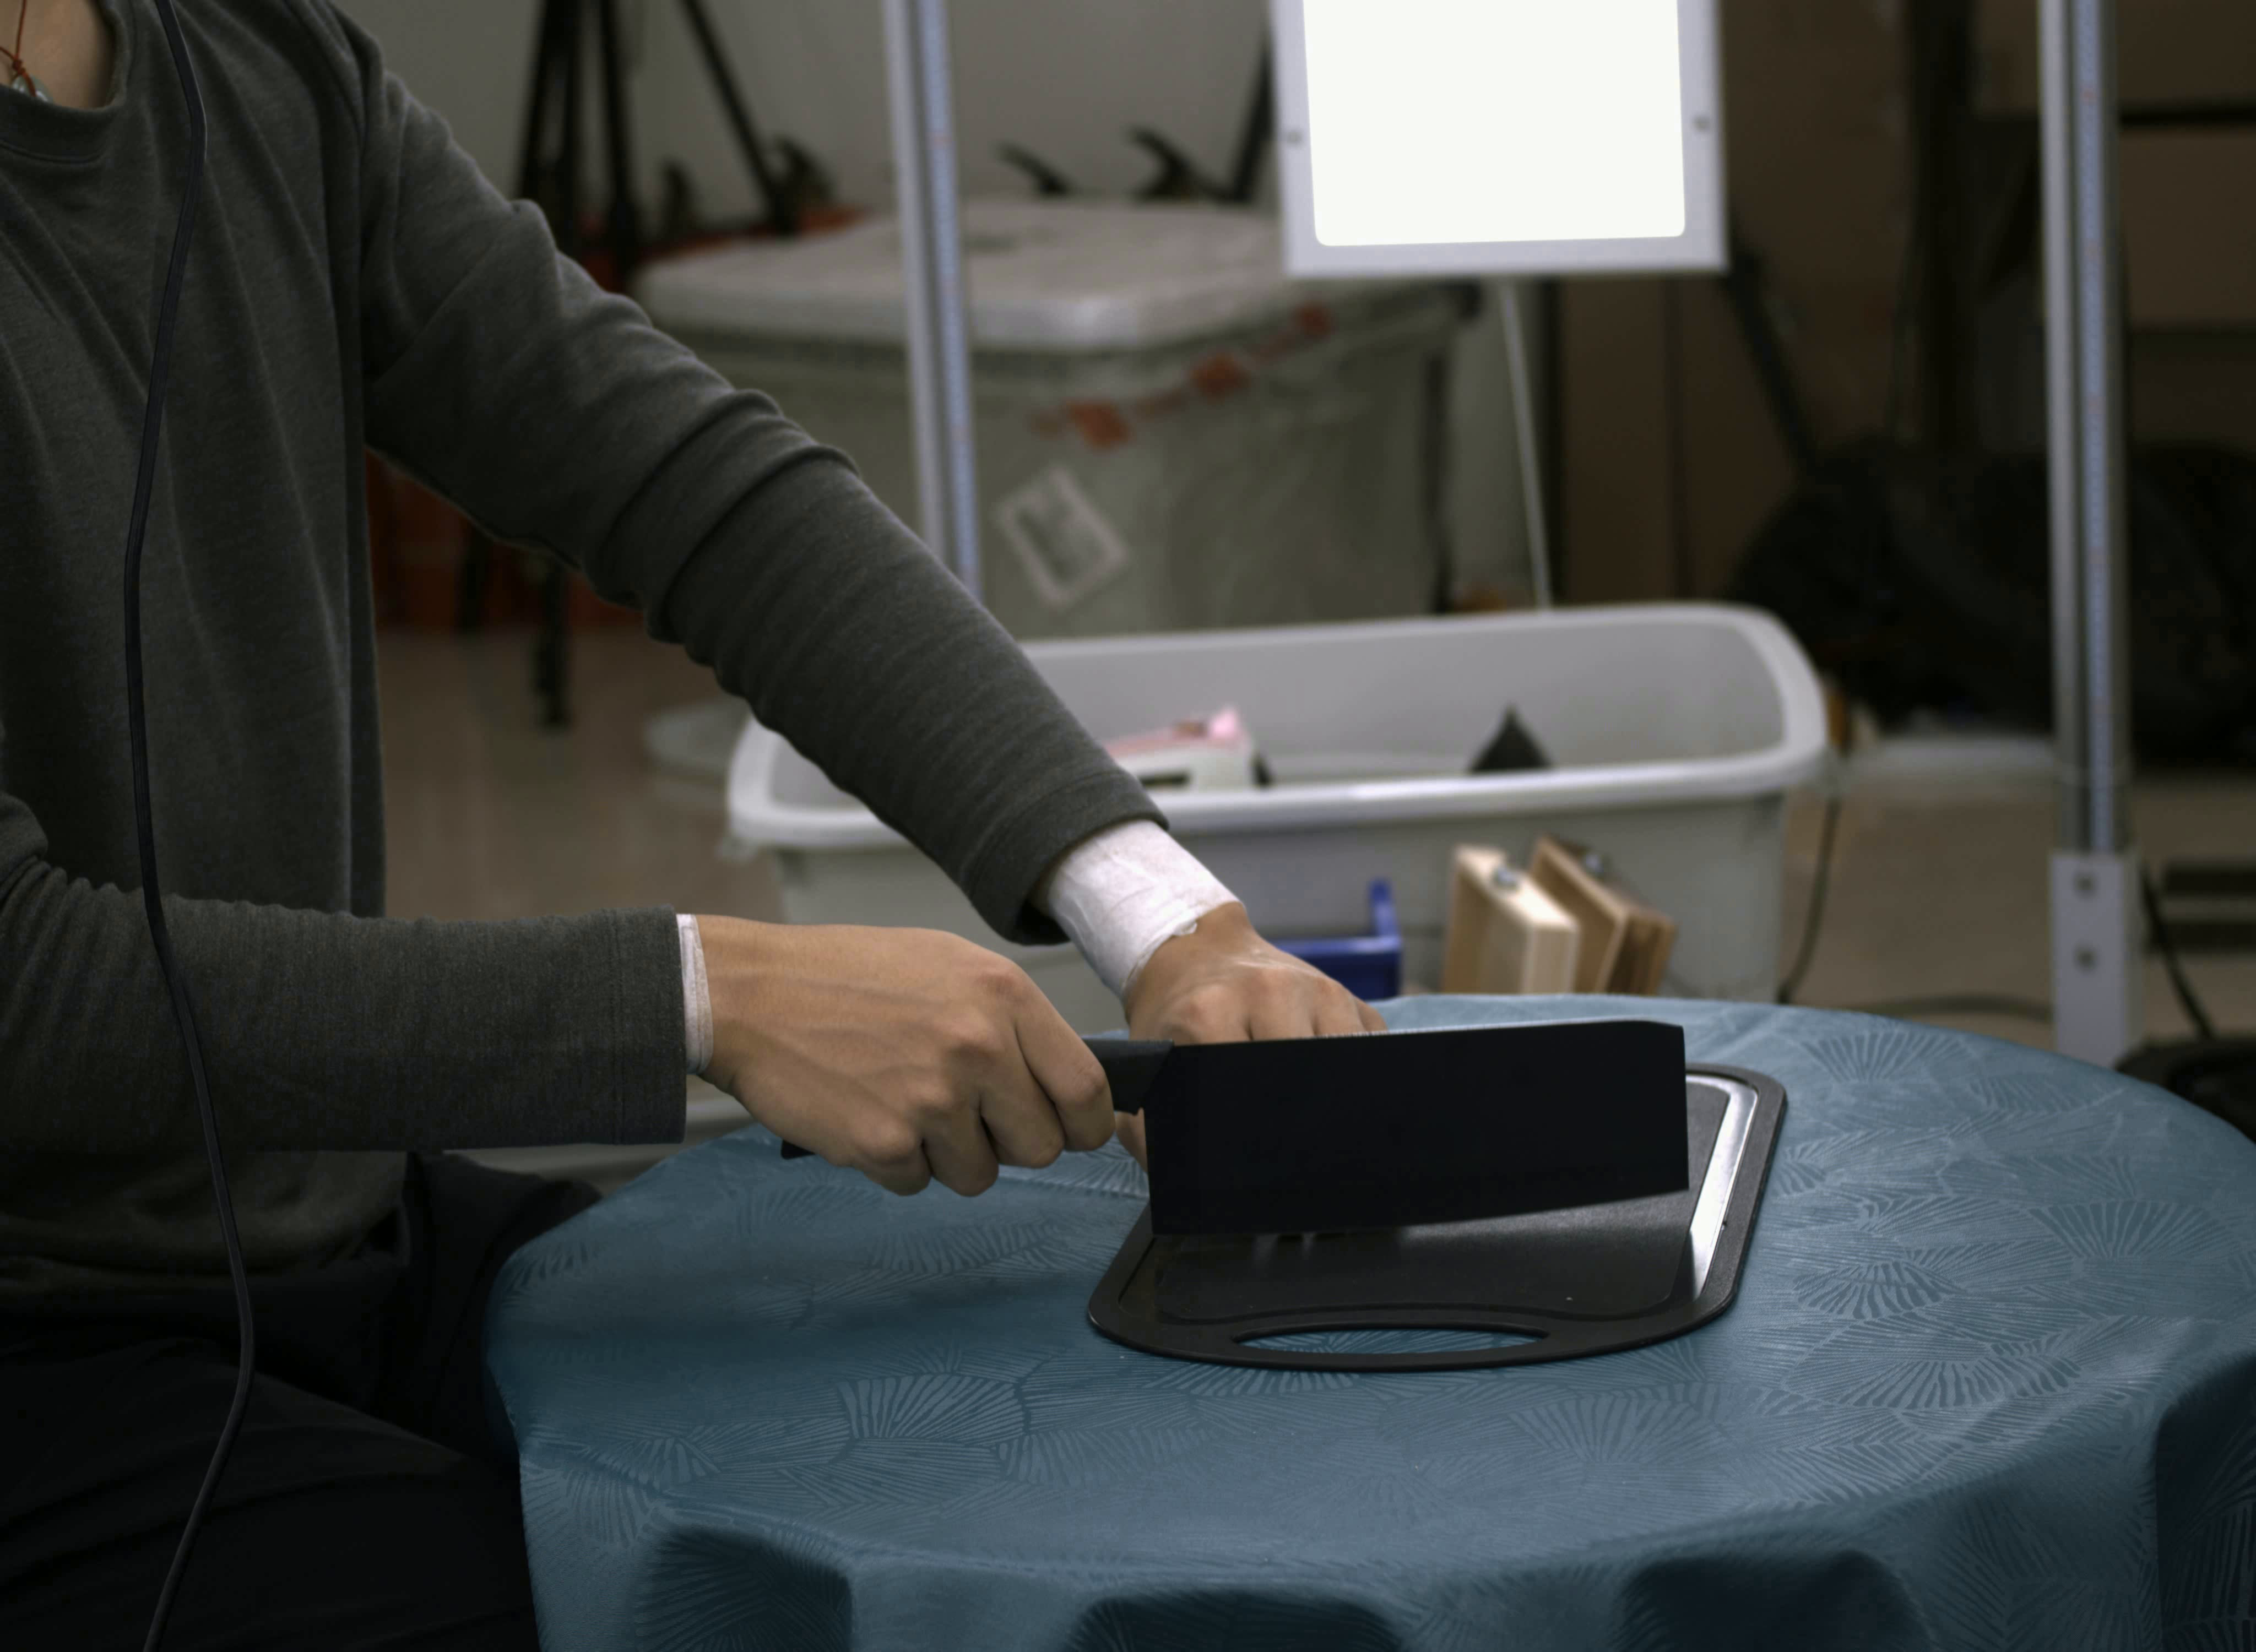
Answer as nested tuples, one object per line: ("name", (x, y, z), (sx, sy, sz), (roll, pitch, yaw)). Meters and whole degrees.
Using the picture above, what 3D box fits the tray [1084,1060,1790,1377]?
("tray", (0.109, 0.127, 1.850), (0.213, 0.010, 0.321), (-2, 14, 14))

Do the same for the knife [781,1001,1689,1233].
("knife", (0.036, 0.096, 1.820), (0.302, 0.081, 0.021), (0, 9, 2))
